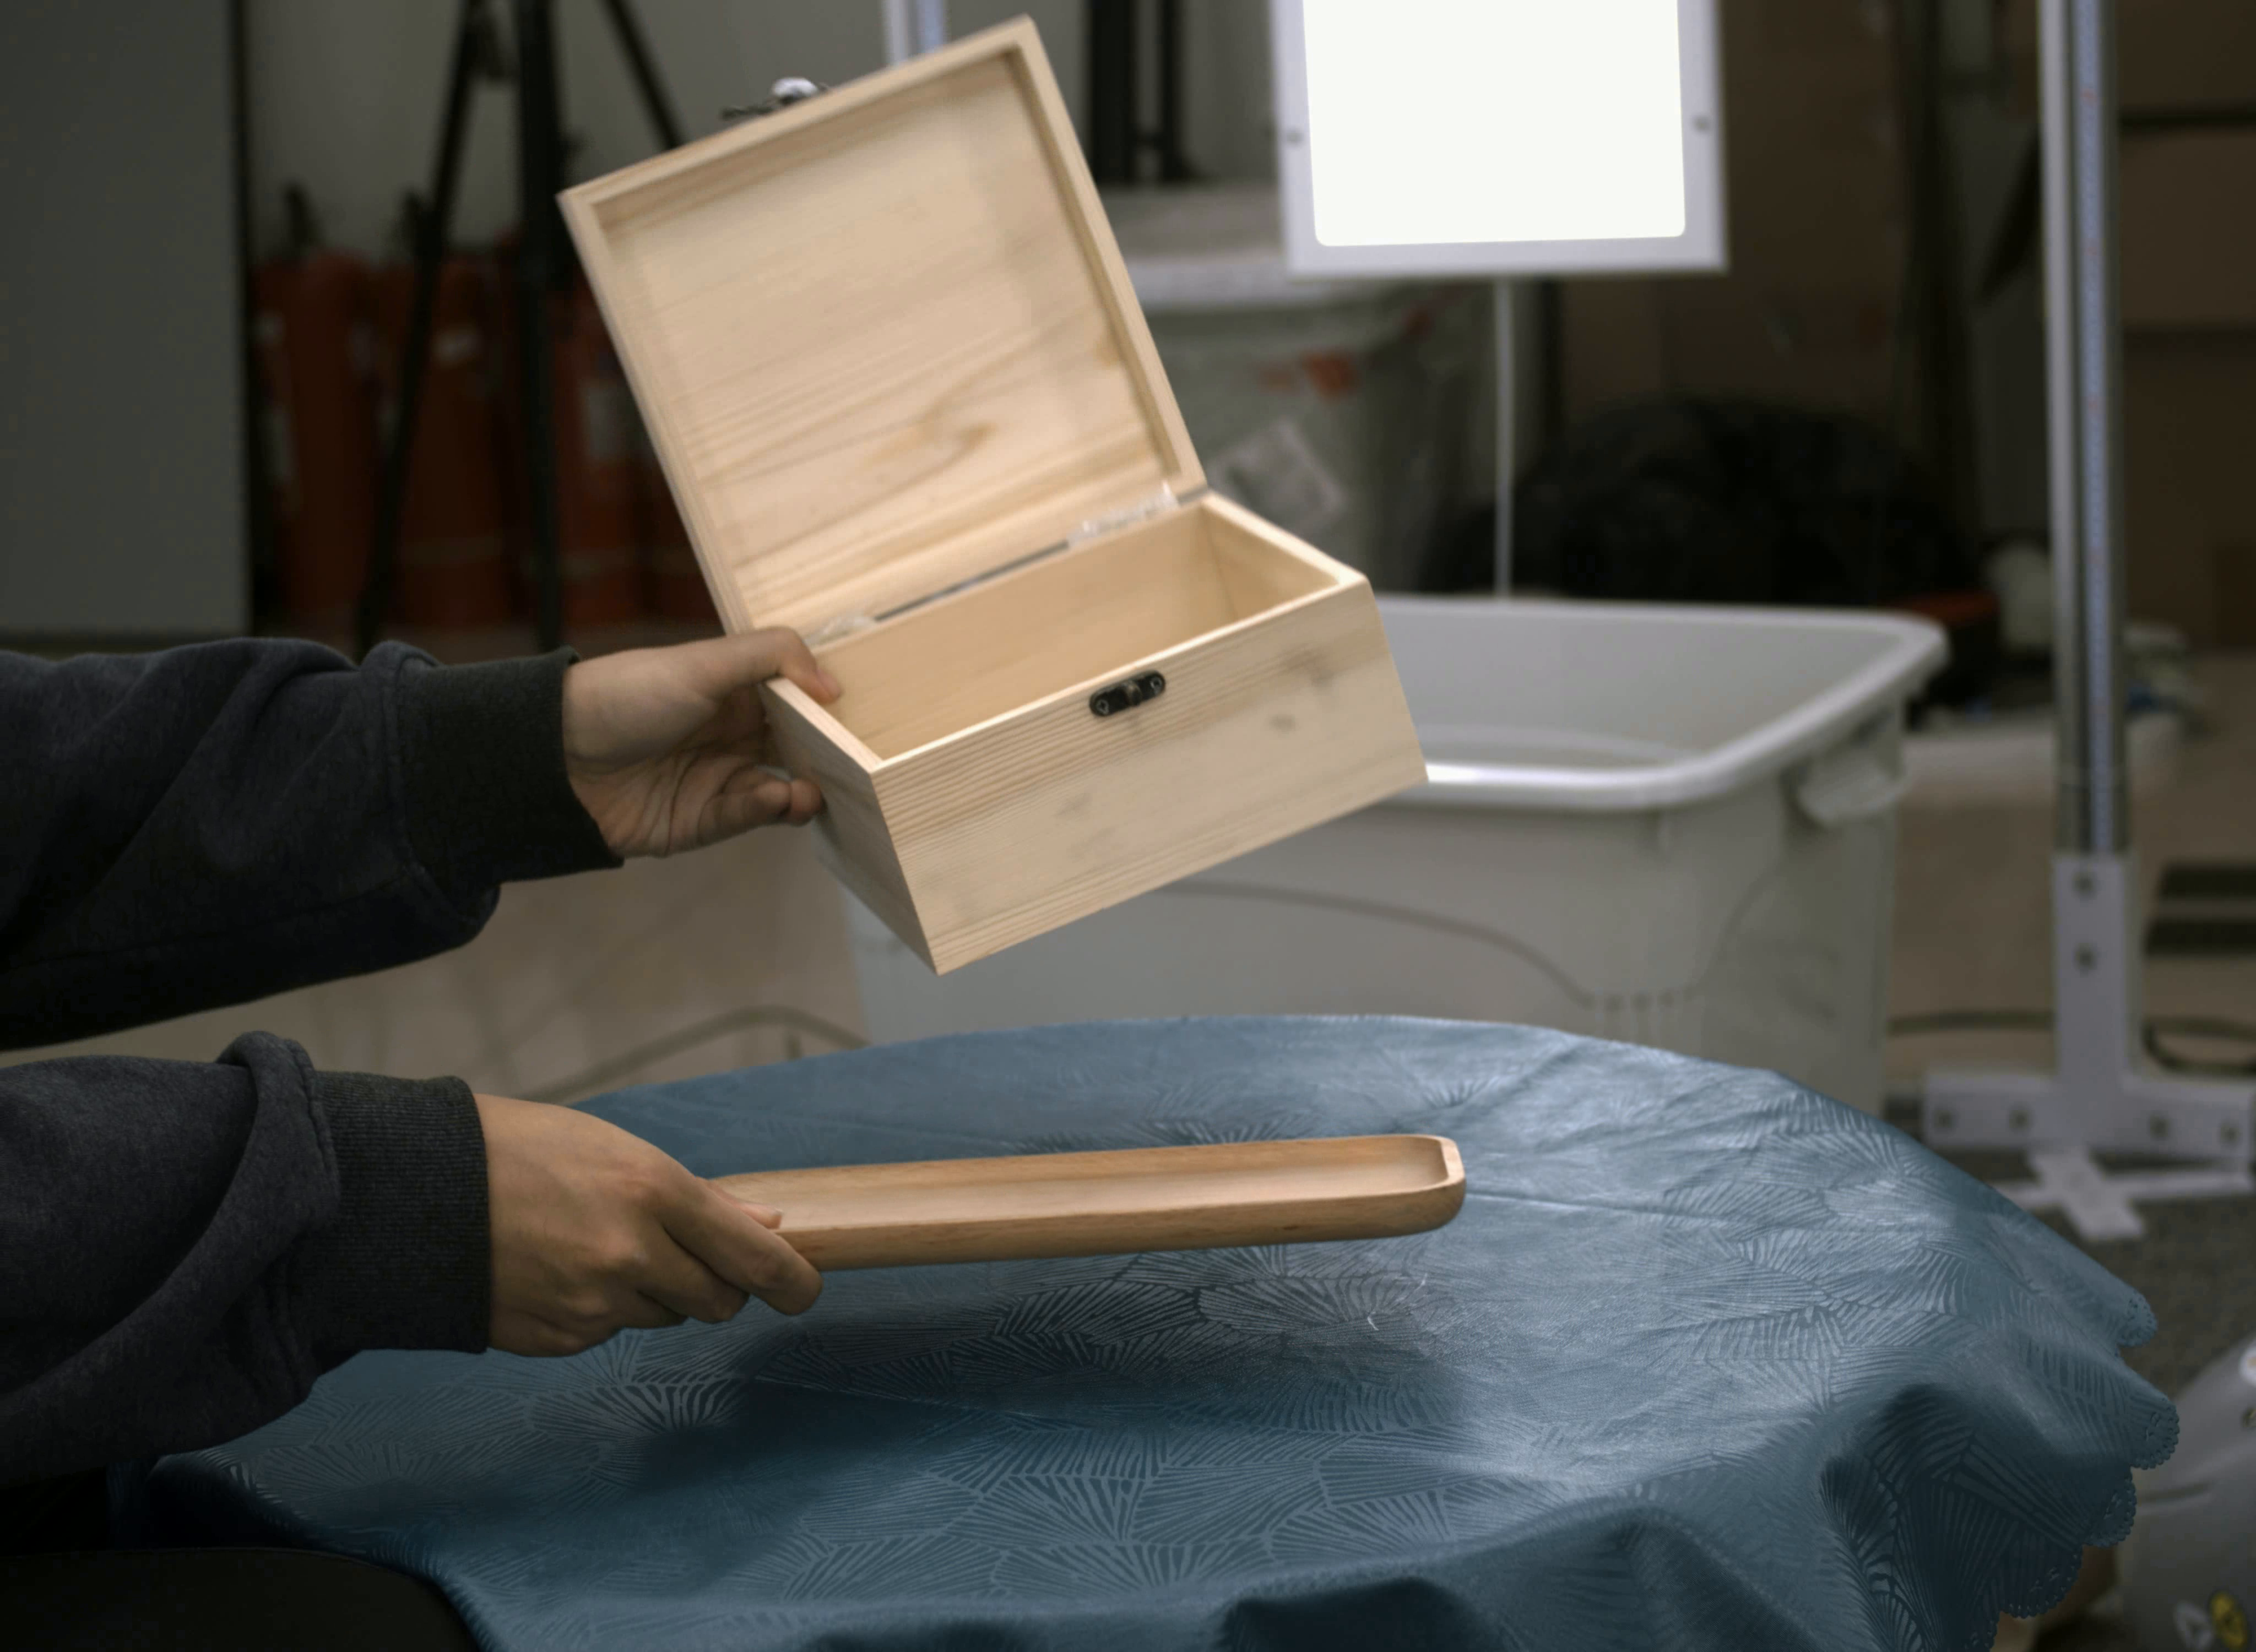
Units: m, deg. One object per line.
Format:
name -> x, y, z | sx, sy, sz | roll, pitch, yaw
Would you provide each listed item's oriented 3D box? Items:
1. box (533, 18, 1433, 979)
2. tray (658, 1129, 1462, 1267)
box -> -0.055, -0.121, 1.904 | 0.180, 0.253, 0.268 | -25, 17, -9
tray -> -0.020, 0.117, 1.737 | 0.251, 0.023, 0.130 | -4, 2, 4
